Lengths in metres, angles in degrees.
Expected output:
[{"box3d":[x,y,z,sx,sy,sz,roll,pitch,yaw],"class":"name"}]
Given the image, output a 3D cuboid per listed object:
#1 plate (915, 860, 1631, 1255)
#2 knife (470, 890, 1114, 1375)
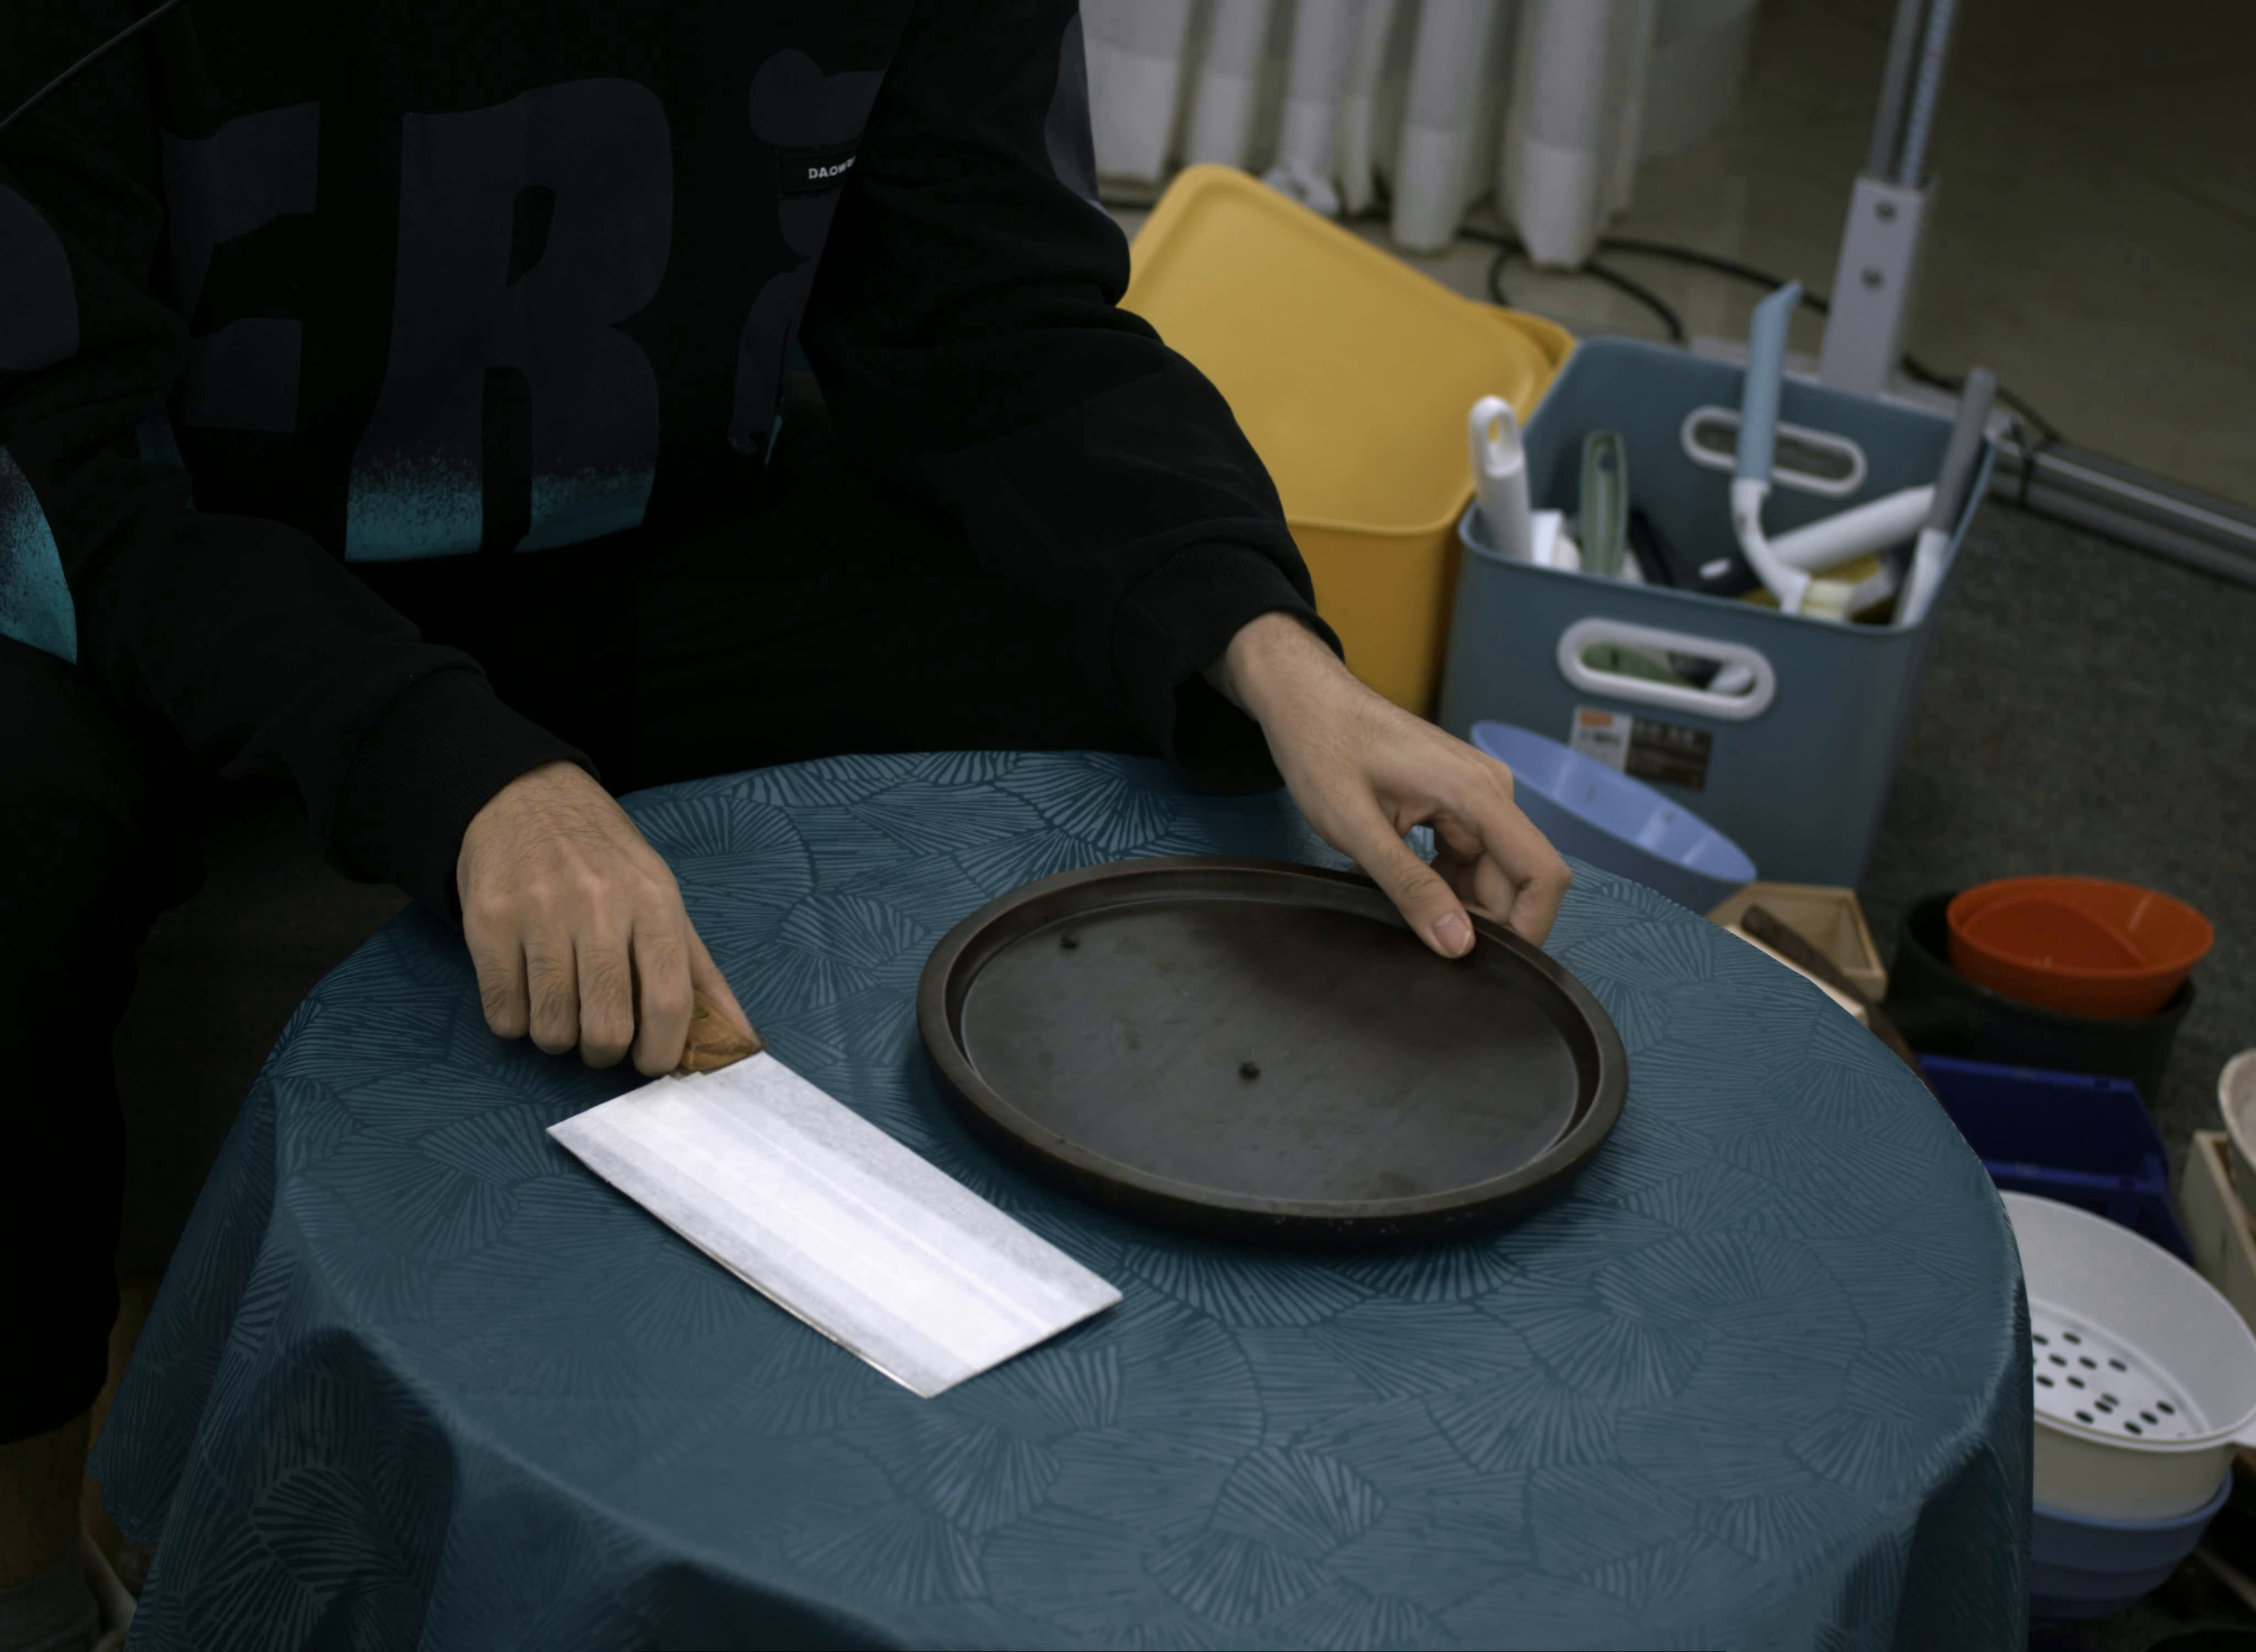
[{"box3d":[0.050,0.079,1.873,0.254,0.029,0.256,4,29,-3],"class":"plate"},{"box3d":[-0.137,0.103,1.795,0.092,0.021,0.308,-23,41,-38],"class":"knife"}]
